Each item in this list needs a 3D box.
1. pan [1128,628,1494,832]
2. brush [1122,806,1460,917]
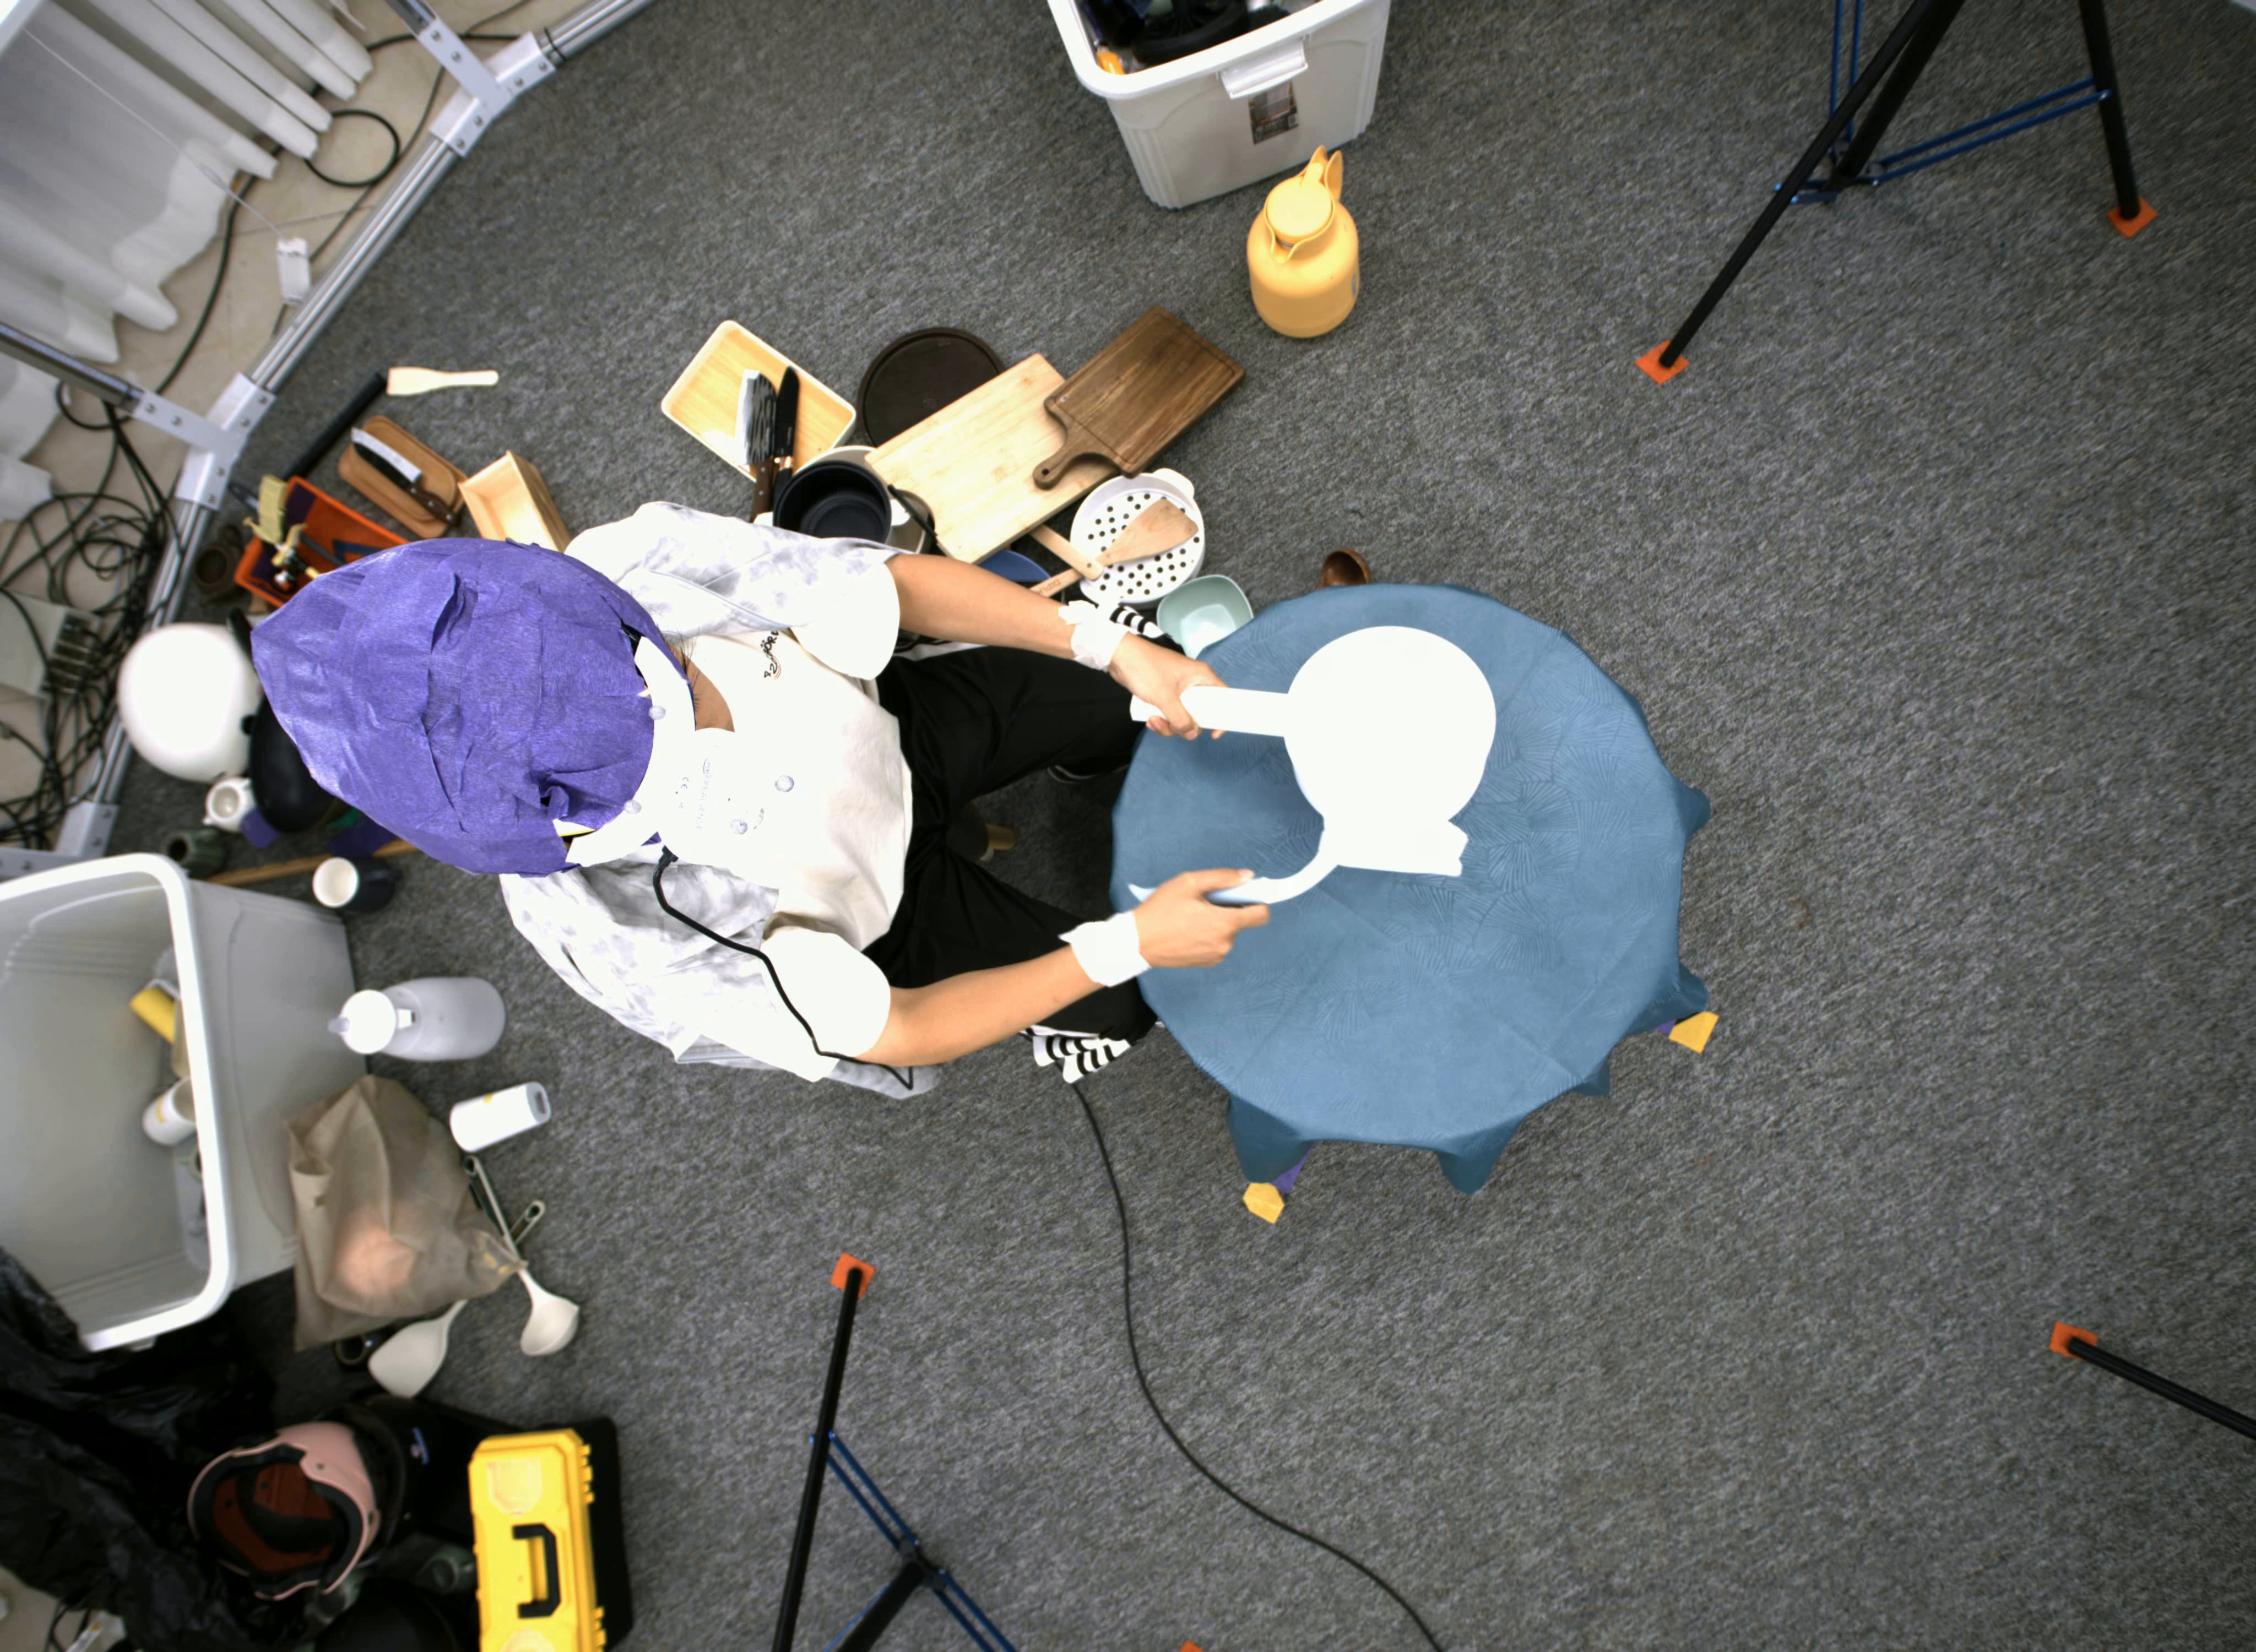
[{"bbox_3d":[0.181,-0.095,1.376,0.356,0.103,0.198,6,72,14],"label":"pan"},{"bbox_3d":[0.150,0.023,1.317,0.327,0.082,0.084,-6,120,16],"label":"brush"}]
